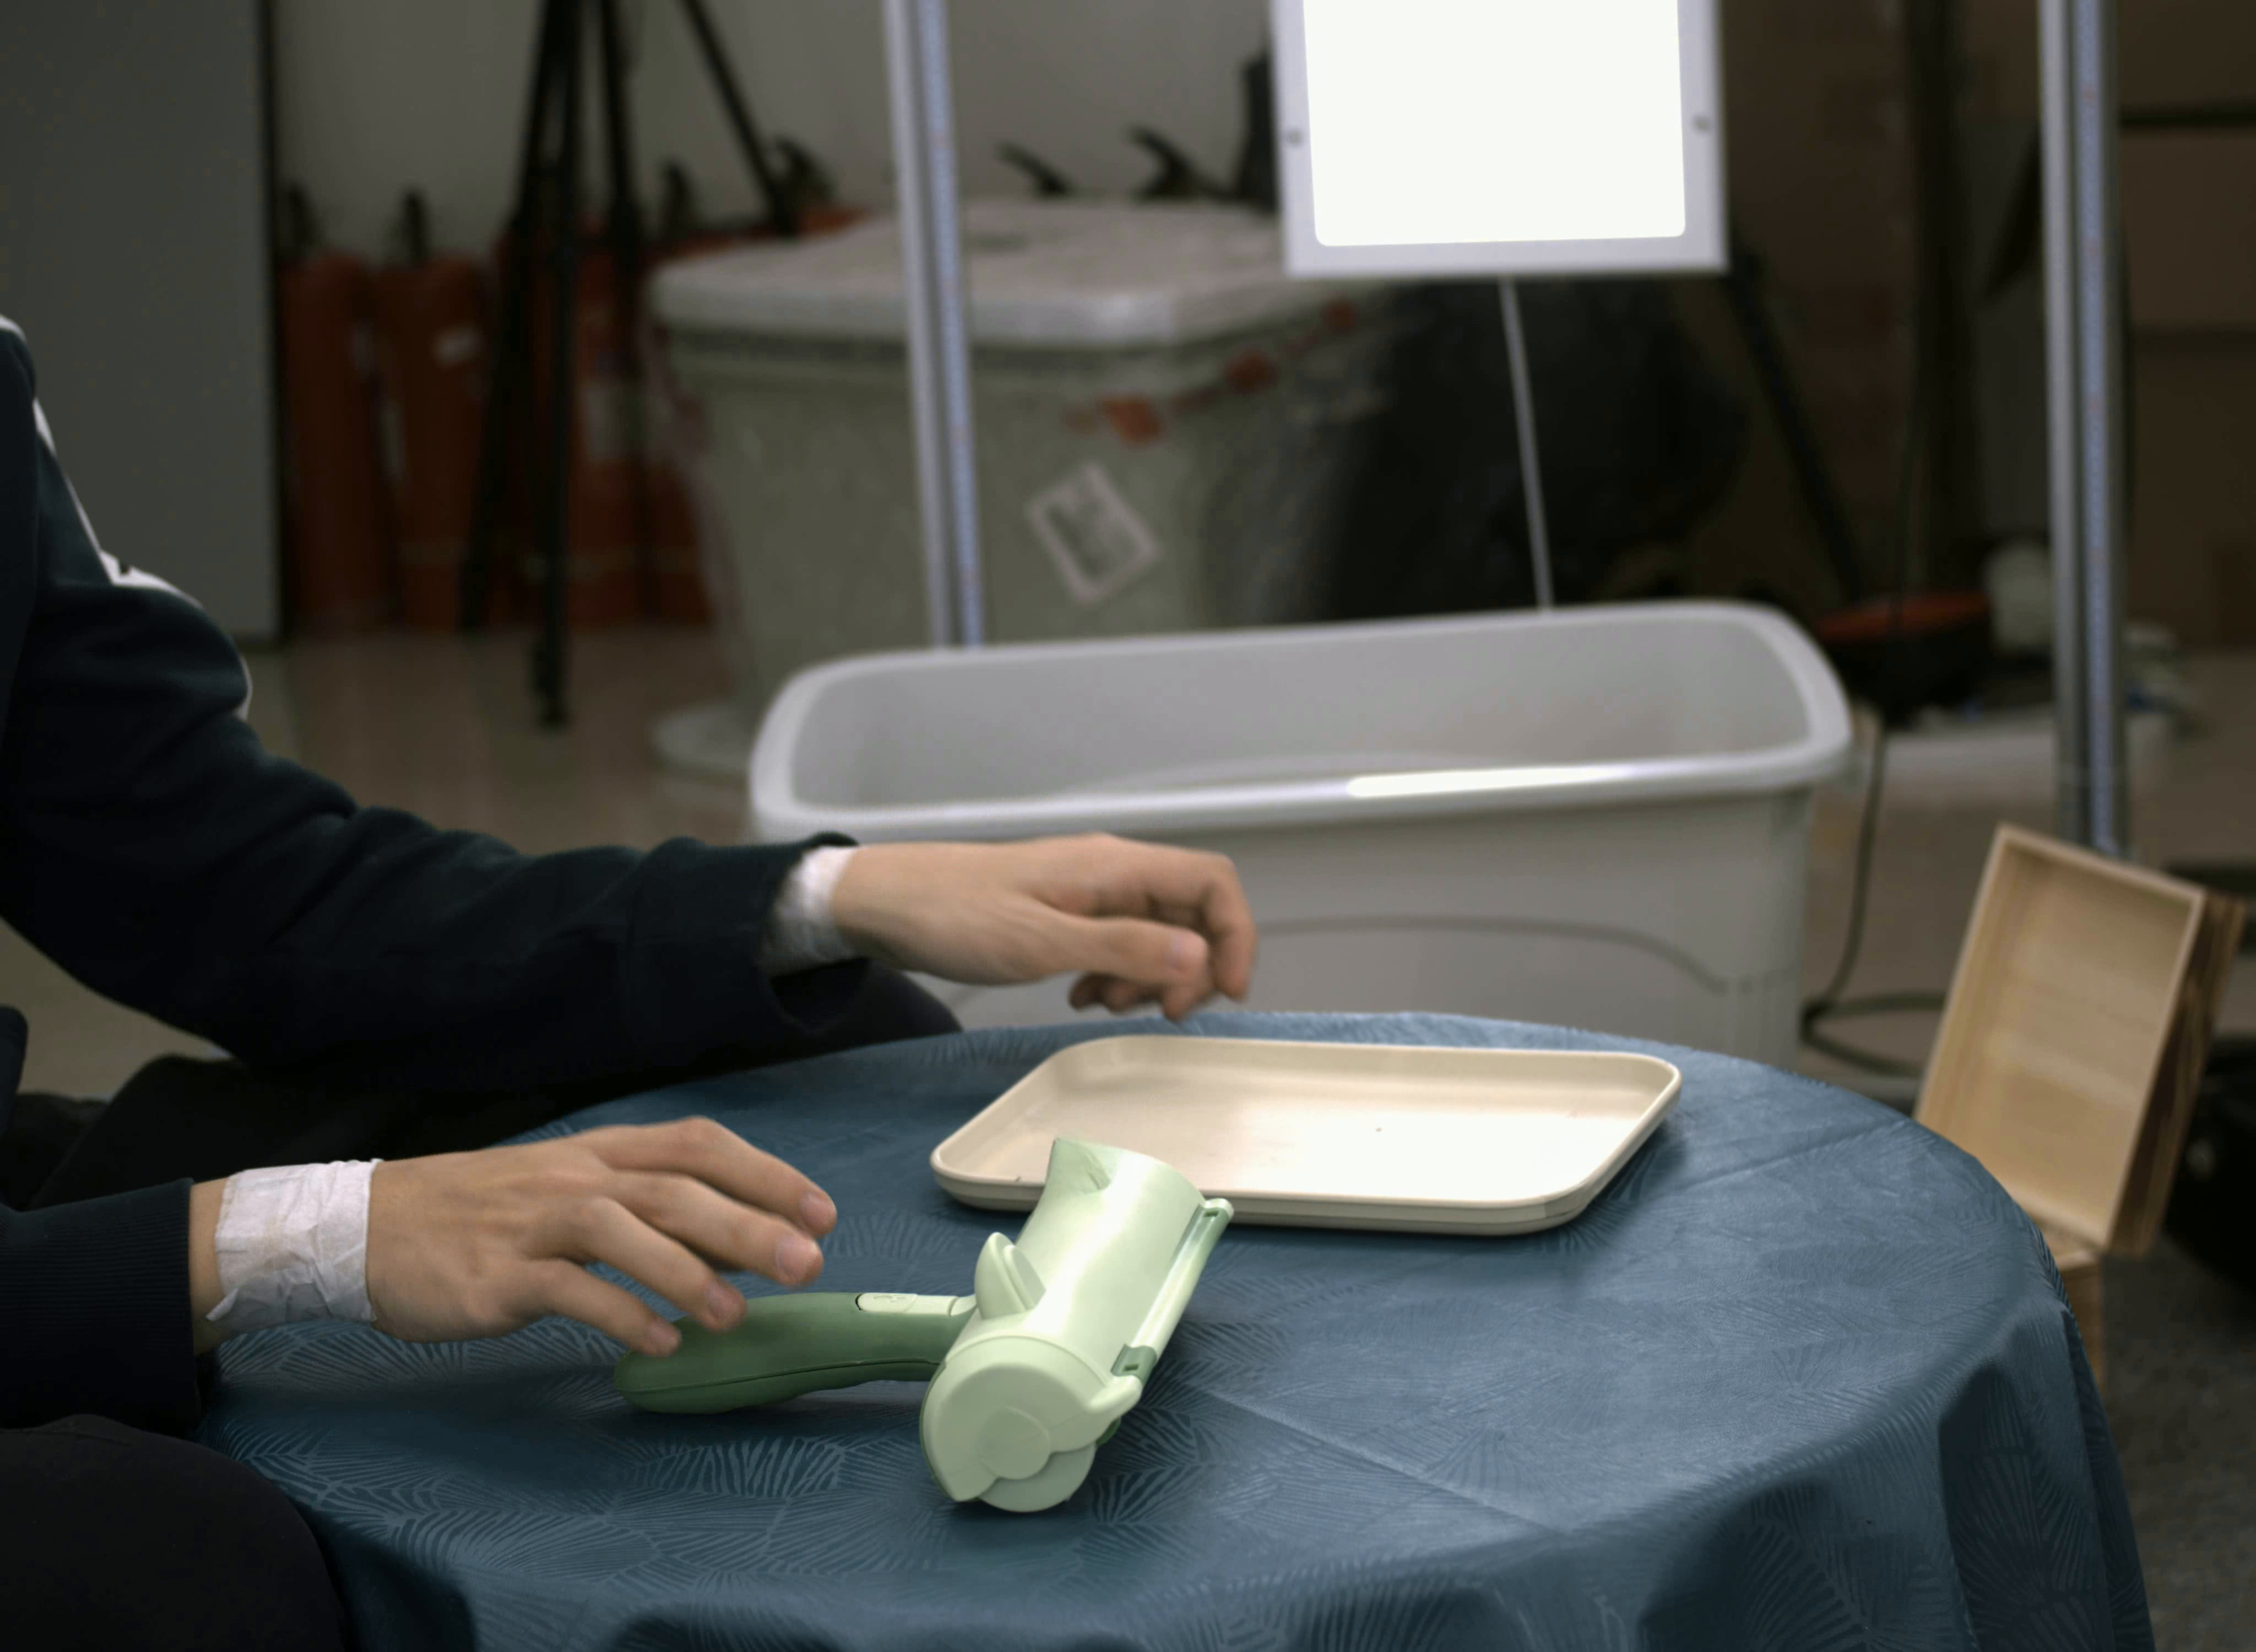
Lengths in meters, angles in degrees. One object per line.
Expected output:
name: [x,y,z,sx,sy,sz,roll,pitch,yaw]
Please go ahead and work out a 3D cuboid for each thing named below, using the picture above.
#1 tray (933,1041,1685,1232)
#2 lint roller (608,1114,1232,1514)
tray: [0.065,0.108,1.911,0.243,0.017,0.168,1,14,23]
lint roller: [-0.072,0.143,1.693,0.184,0.082,0.196,2,15,11]
